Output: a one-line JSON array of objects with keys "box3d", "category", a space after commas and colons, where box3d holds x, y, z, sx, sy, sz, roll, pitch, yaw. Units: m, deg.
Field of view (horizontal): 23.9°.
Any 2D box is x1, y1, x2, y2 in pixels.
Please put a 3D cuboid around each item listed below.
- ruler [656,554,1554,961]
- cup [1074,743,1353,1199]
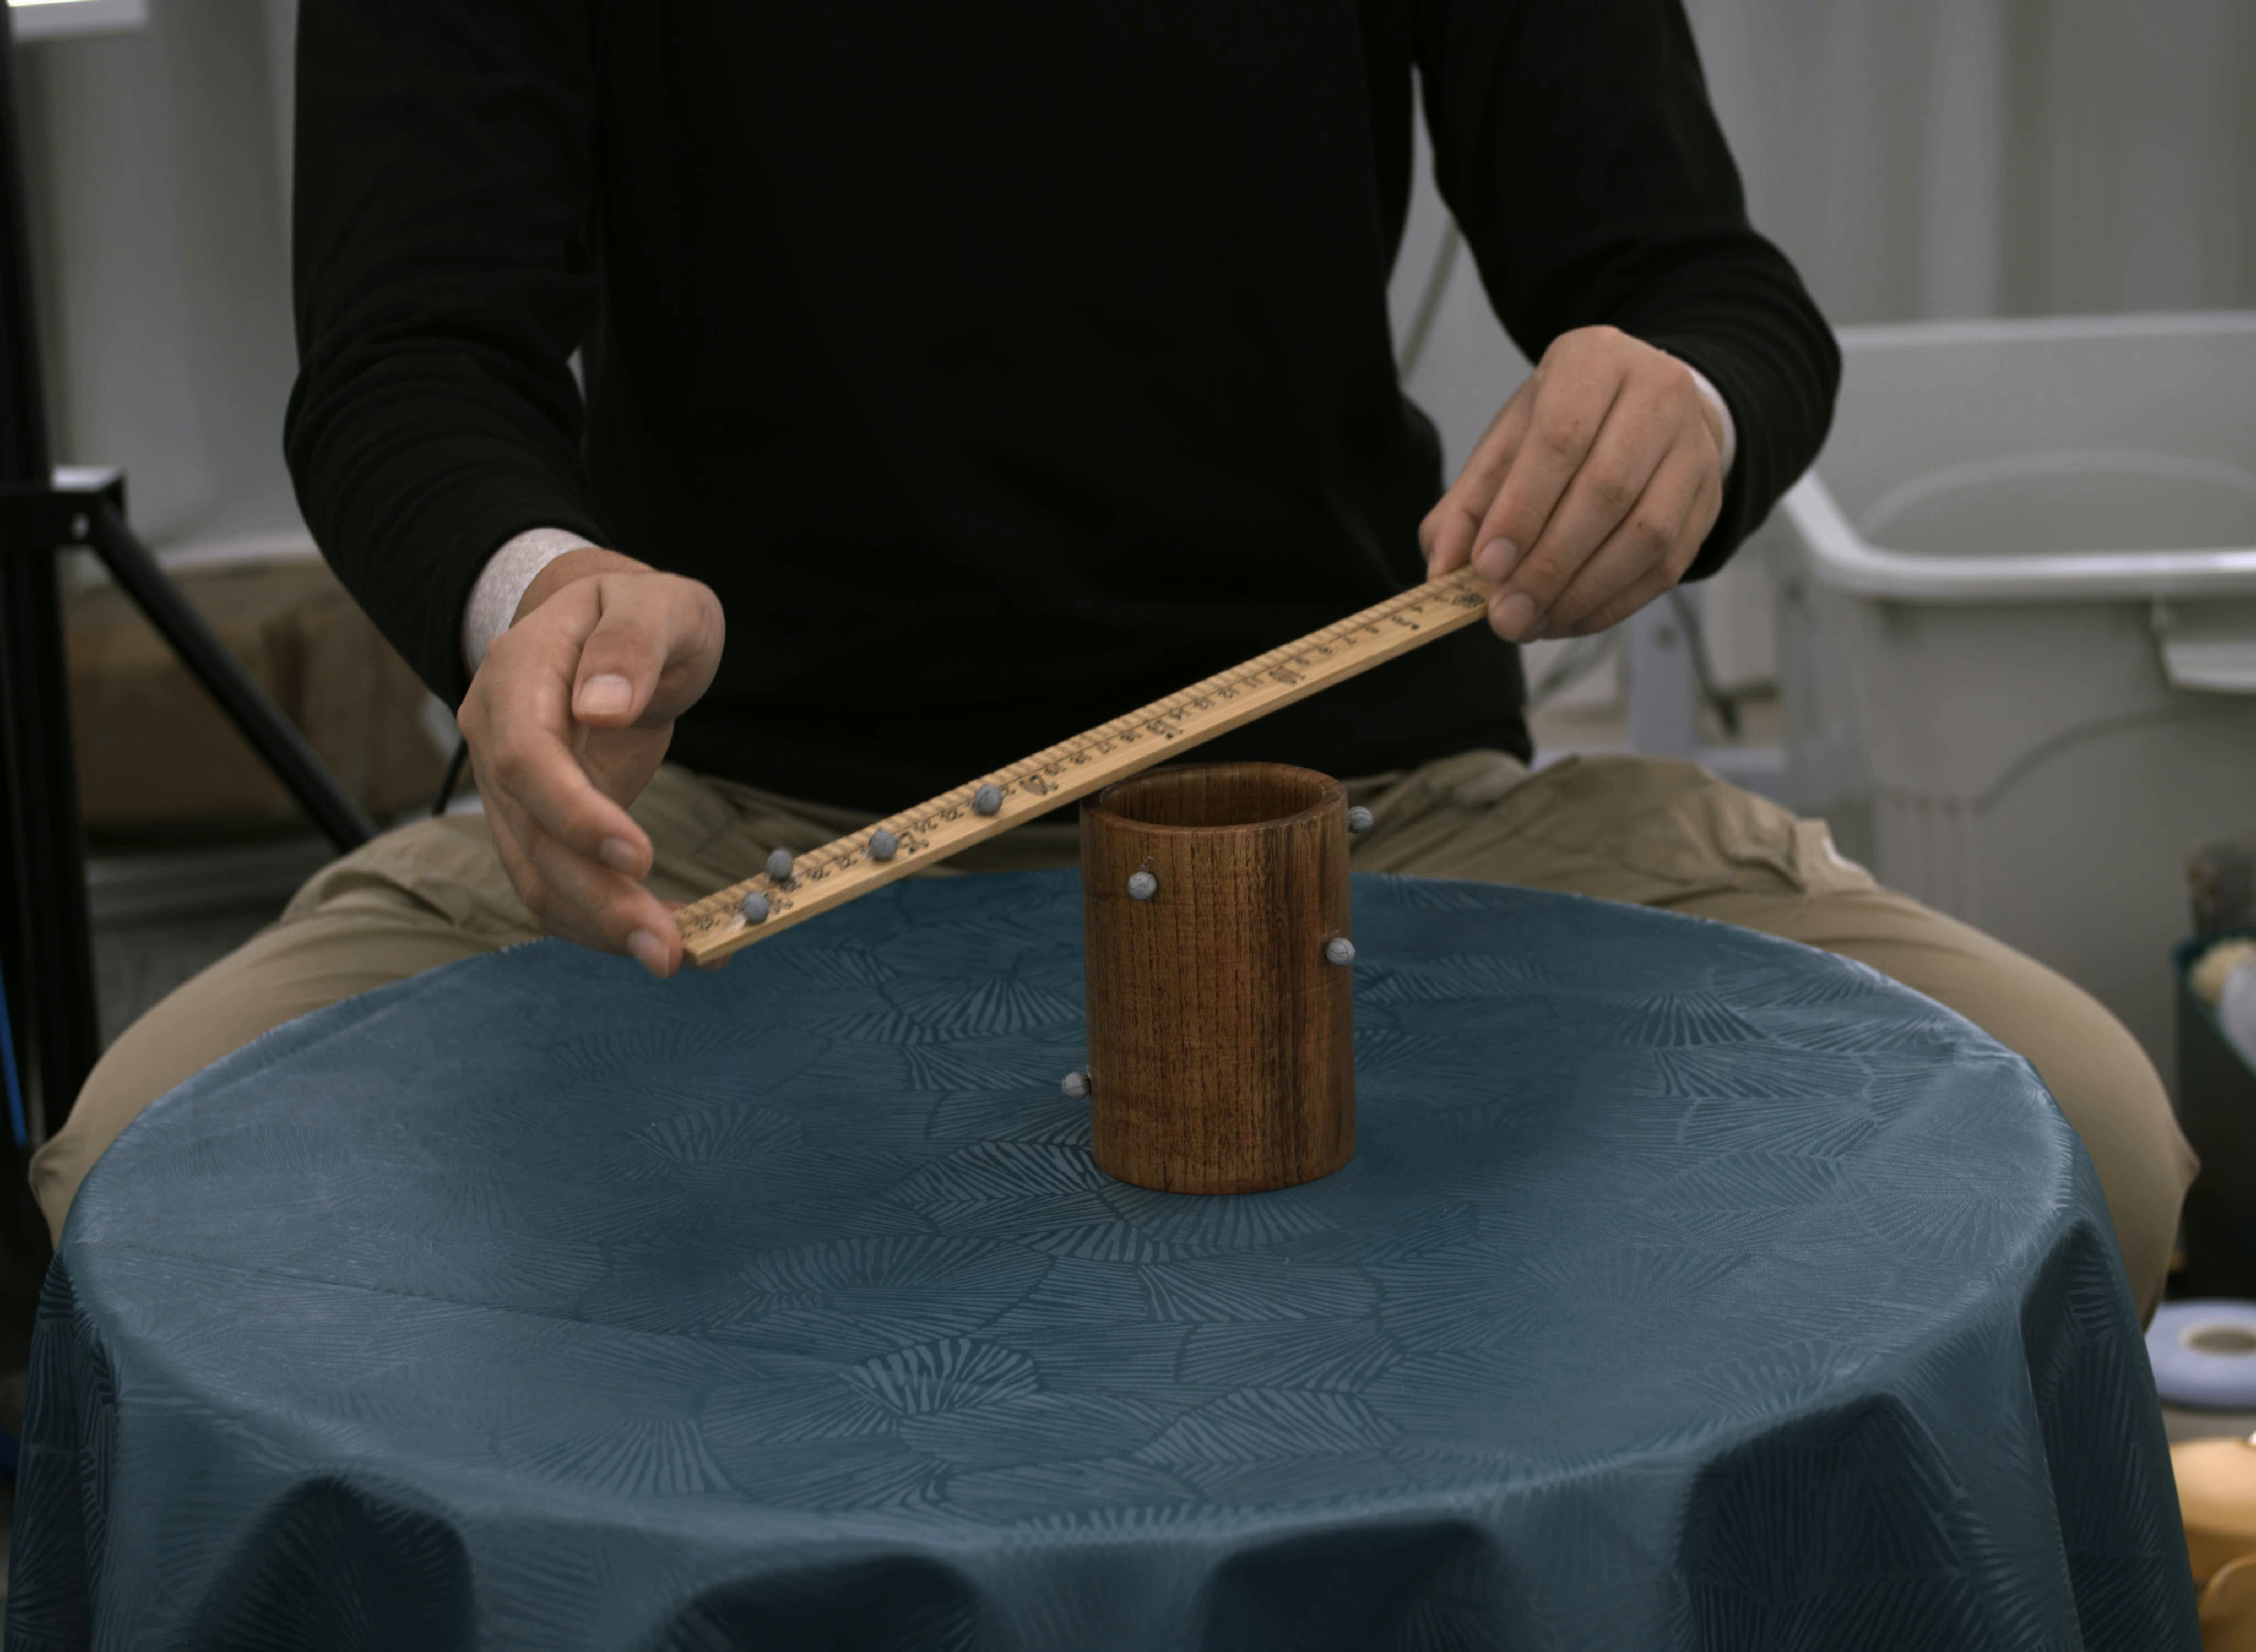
[{"box3d": [0.000, -0.026, 1.569, 0.325, 0.022, 0.028, -24, 39, -33], "category": "ruler"}, {"box3d": [0.026, 0.042, 1.572, 0.087, 0.118, 0.088, -1, 15, -1], "category": "cup"}]
